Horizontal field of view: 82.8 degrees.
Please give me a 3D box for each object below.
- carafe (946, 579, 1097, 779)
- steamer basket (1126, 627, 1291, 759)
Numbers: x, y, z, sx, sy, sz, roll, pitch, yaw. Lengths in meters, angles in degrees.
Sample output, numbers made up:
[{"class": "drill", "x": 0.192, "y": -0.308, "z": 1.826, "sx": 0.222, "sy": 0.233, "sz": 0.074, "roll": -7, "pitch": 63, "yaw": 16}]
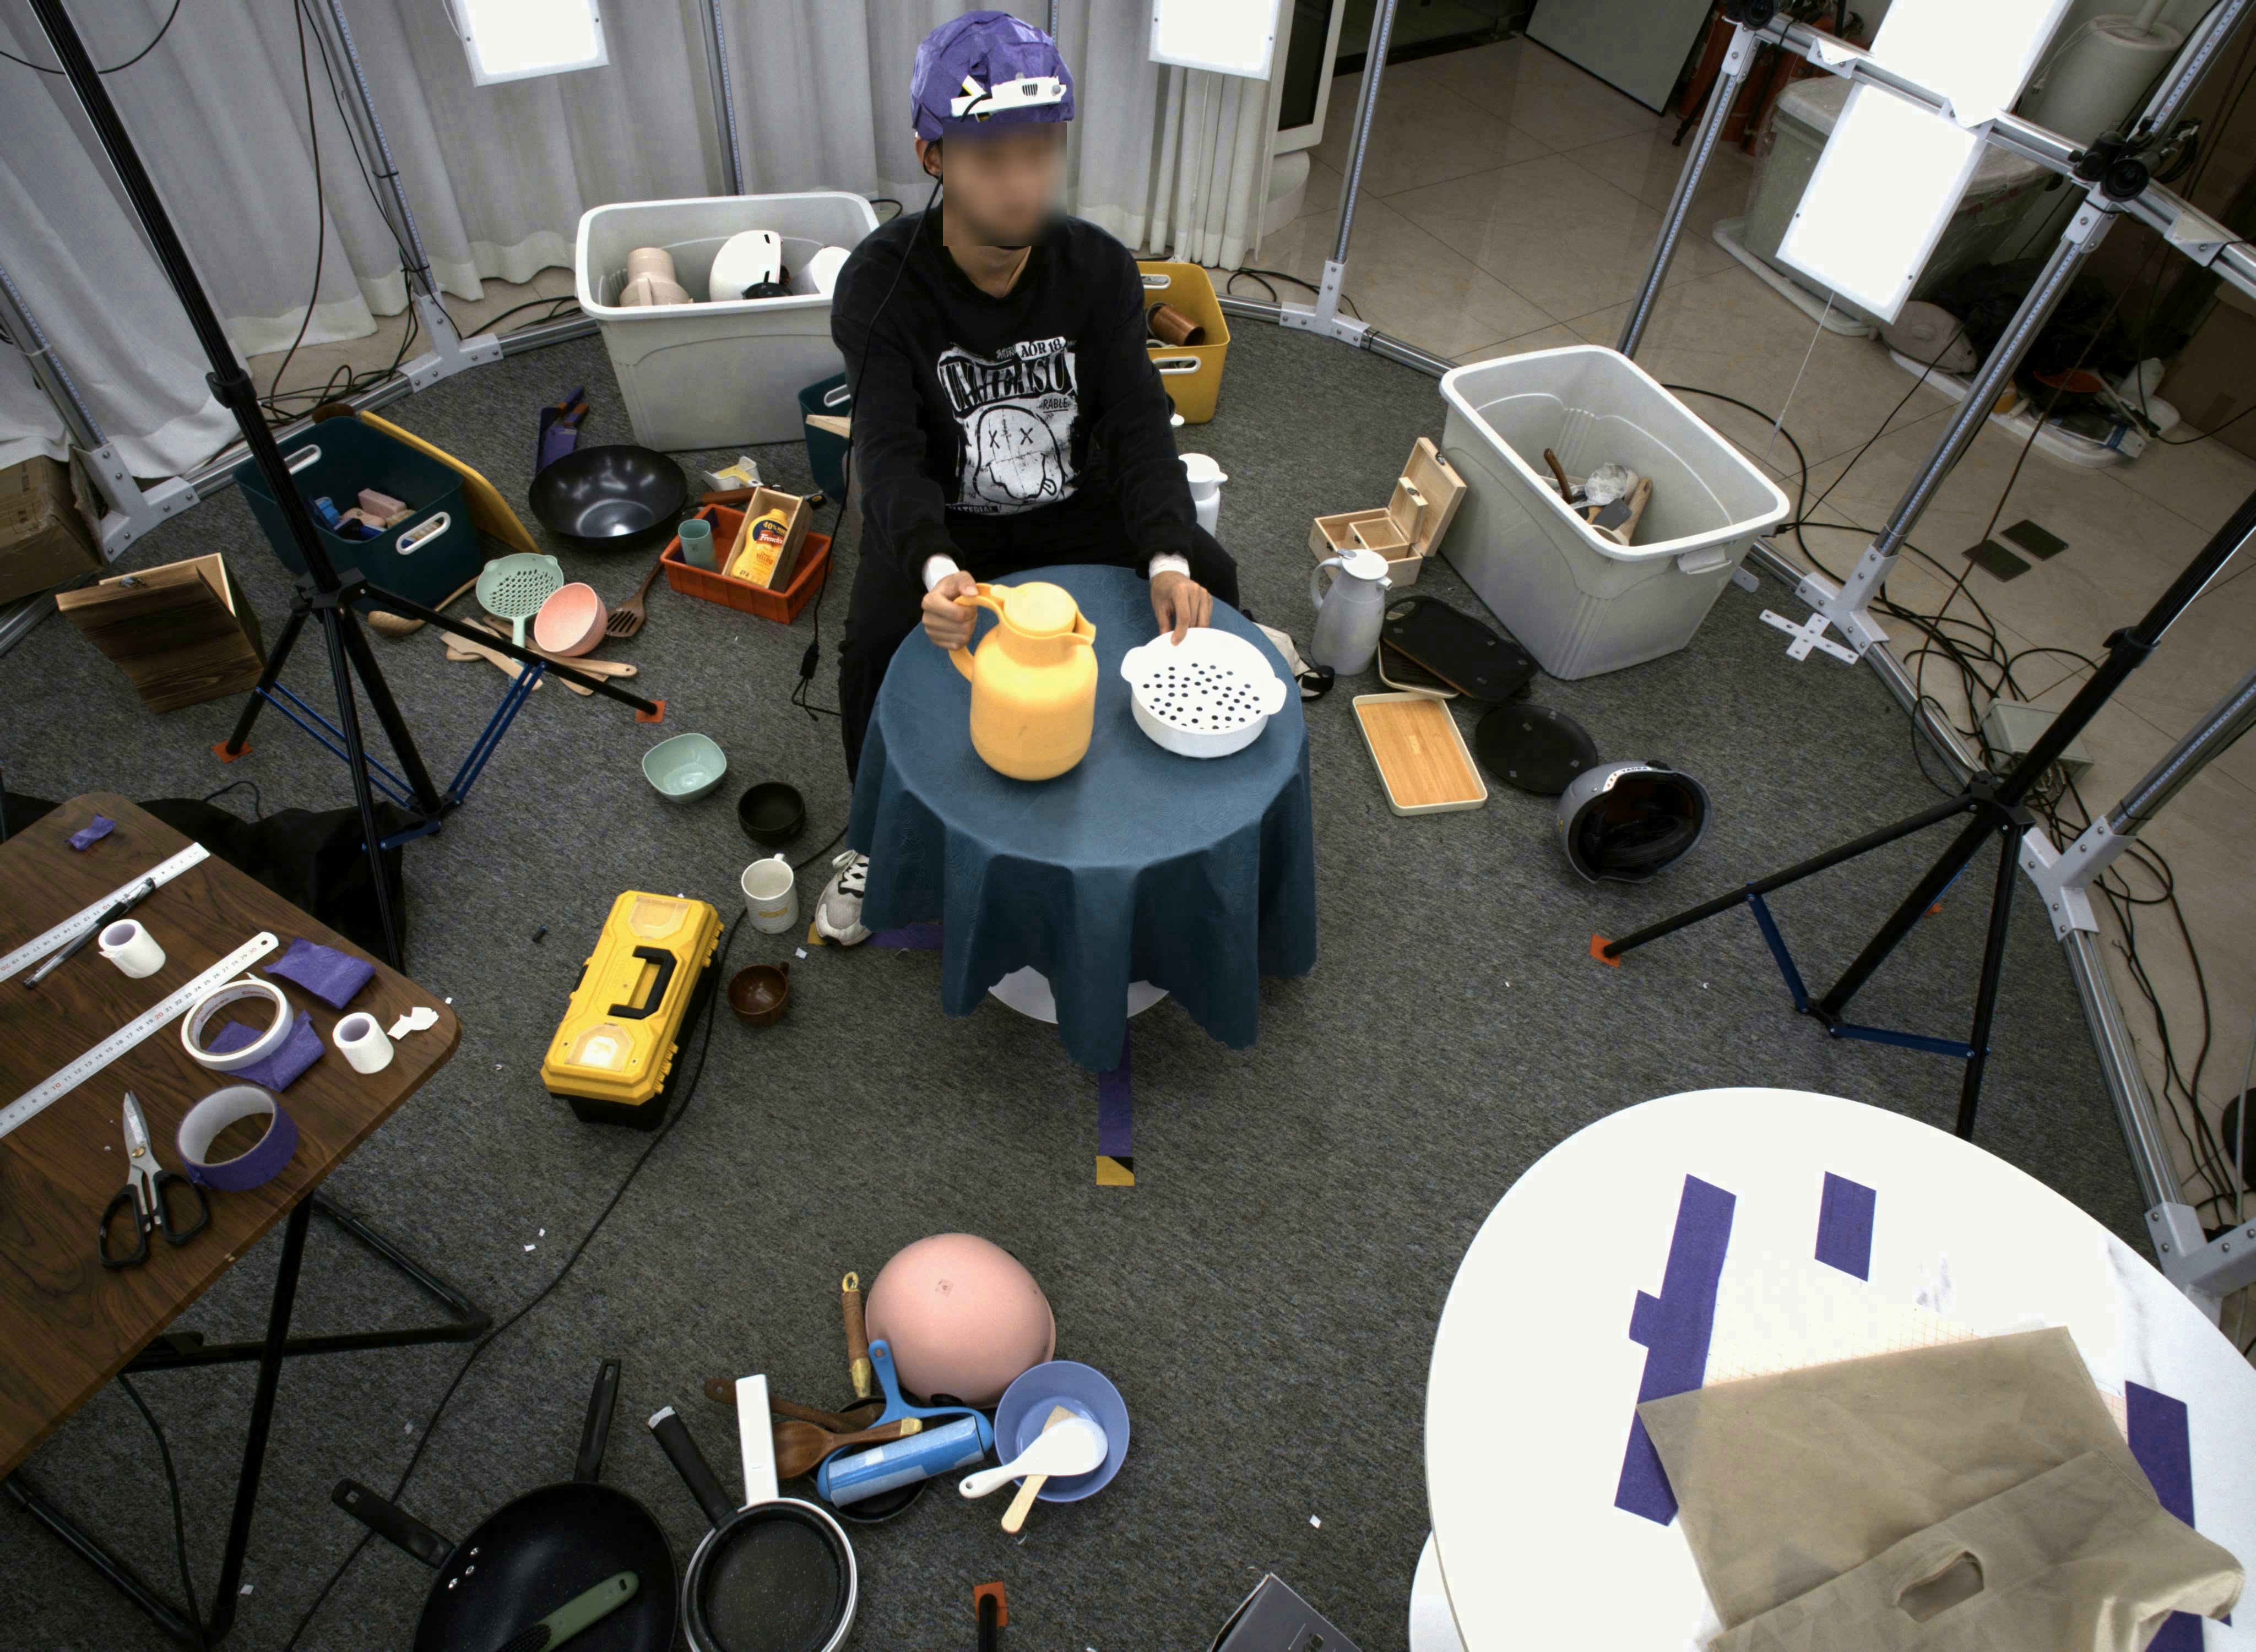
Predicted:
[{"class": "carafe", "x": -0.138, "y": -0.200, "z": 1.648, "sx": 0.203, "sy": 0.254, "sz": 0.166, "roll": 25, "pitch": 49, "yaw": 11}, {"class": "steamer basket", "x": 0.108, "y": -0.185, "z": 1.787, "sx": 0.231, "sy": 0.067, "sz": 0.206, "roll": 15, "pitch": 52, "yaw": 5}]
